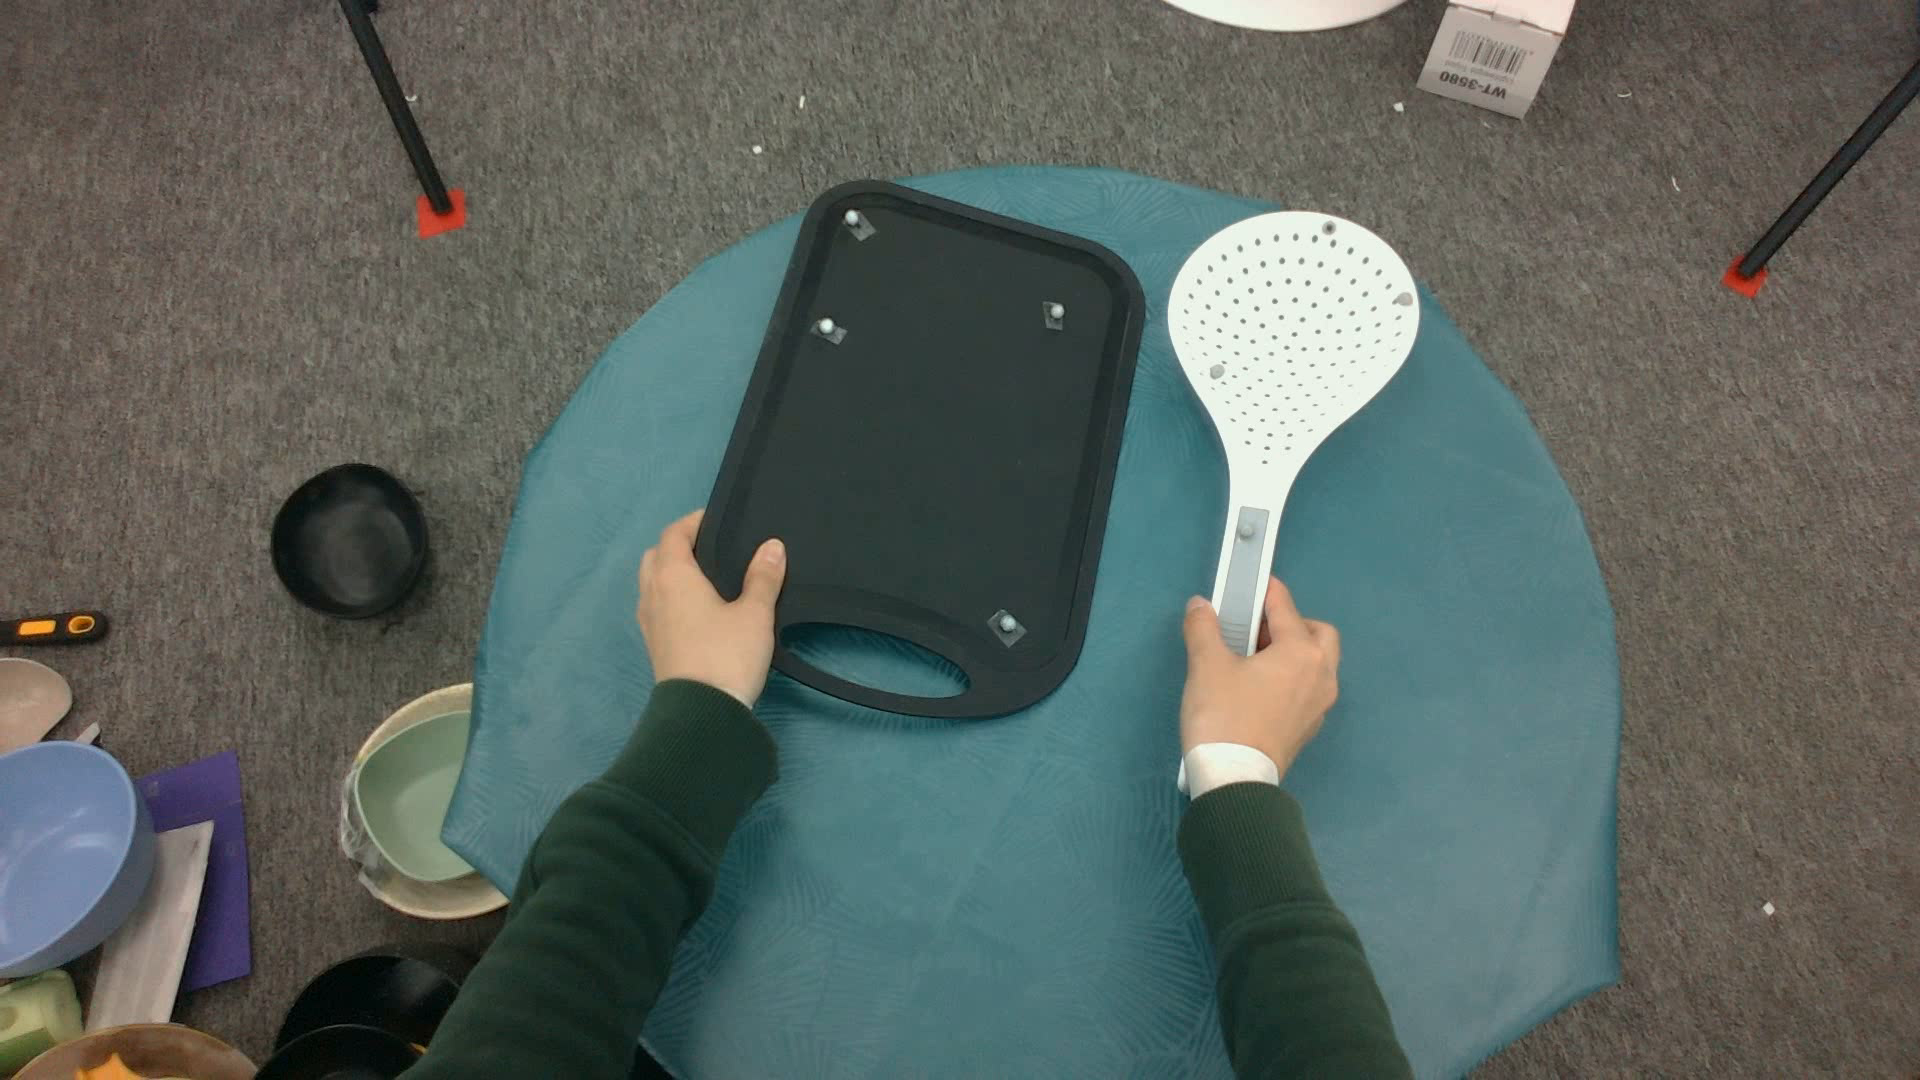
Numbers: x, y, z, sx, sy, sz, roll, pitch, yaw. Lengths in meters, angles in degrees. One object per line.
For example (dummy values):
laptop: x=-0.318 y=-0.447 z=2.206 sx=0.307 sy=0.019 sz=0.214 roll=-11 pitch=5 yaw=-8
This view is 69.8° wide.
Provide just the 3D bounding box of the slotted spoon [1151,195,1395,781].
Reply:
slotted spoon: x=0.152 y=-0.040 z=0.744 sx=0.136 sy=0.045 sz=0.351 roll=9 pitch=62 yaw=14

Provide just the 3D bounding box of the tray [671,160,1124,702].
tray: x=-0.026 y=-0.068 z=0.758 sx=0.211 sy=0.010 sz=0.327 roll=15 pitch=64 yaw=-5
